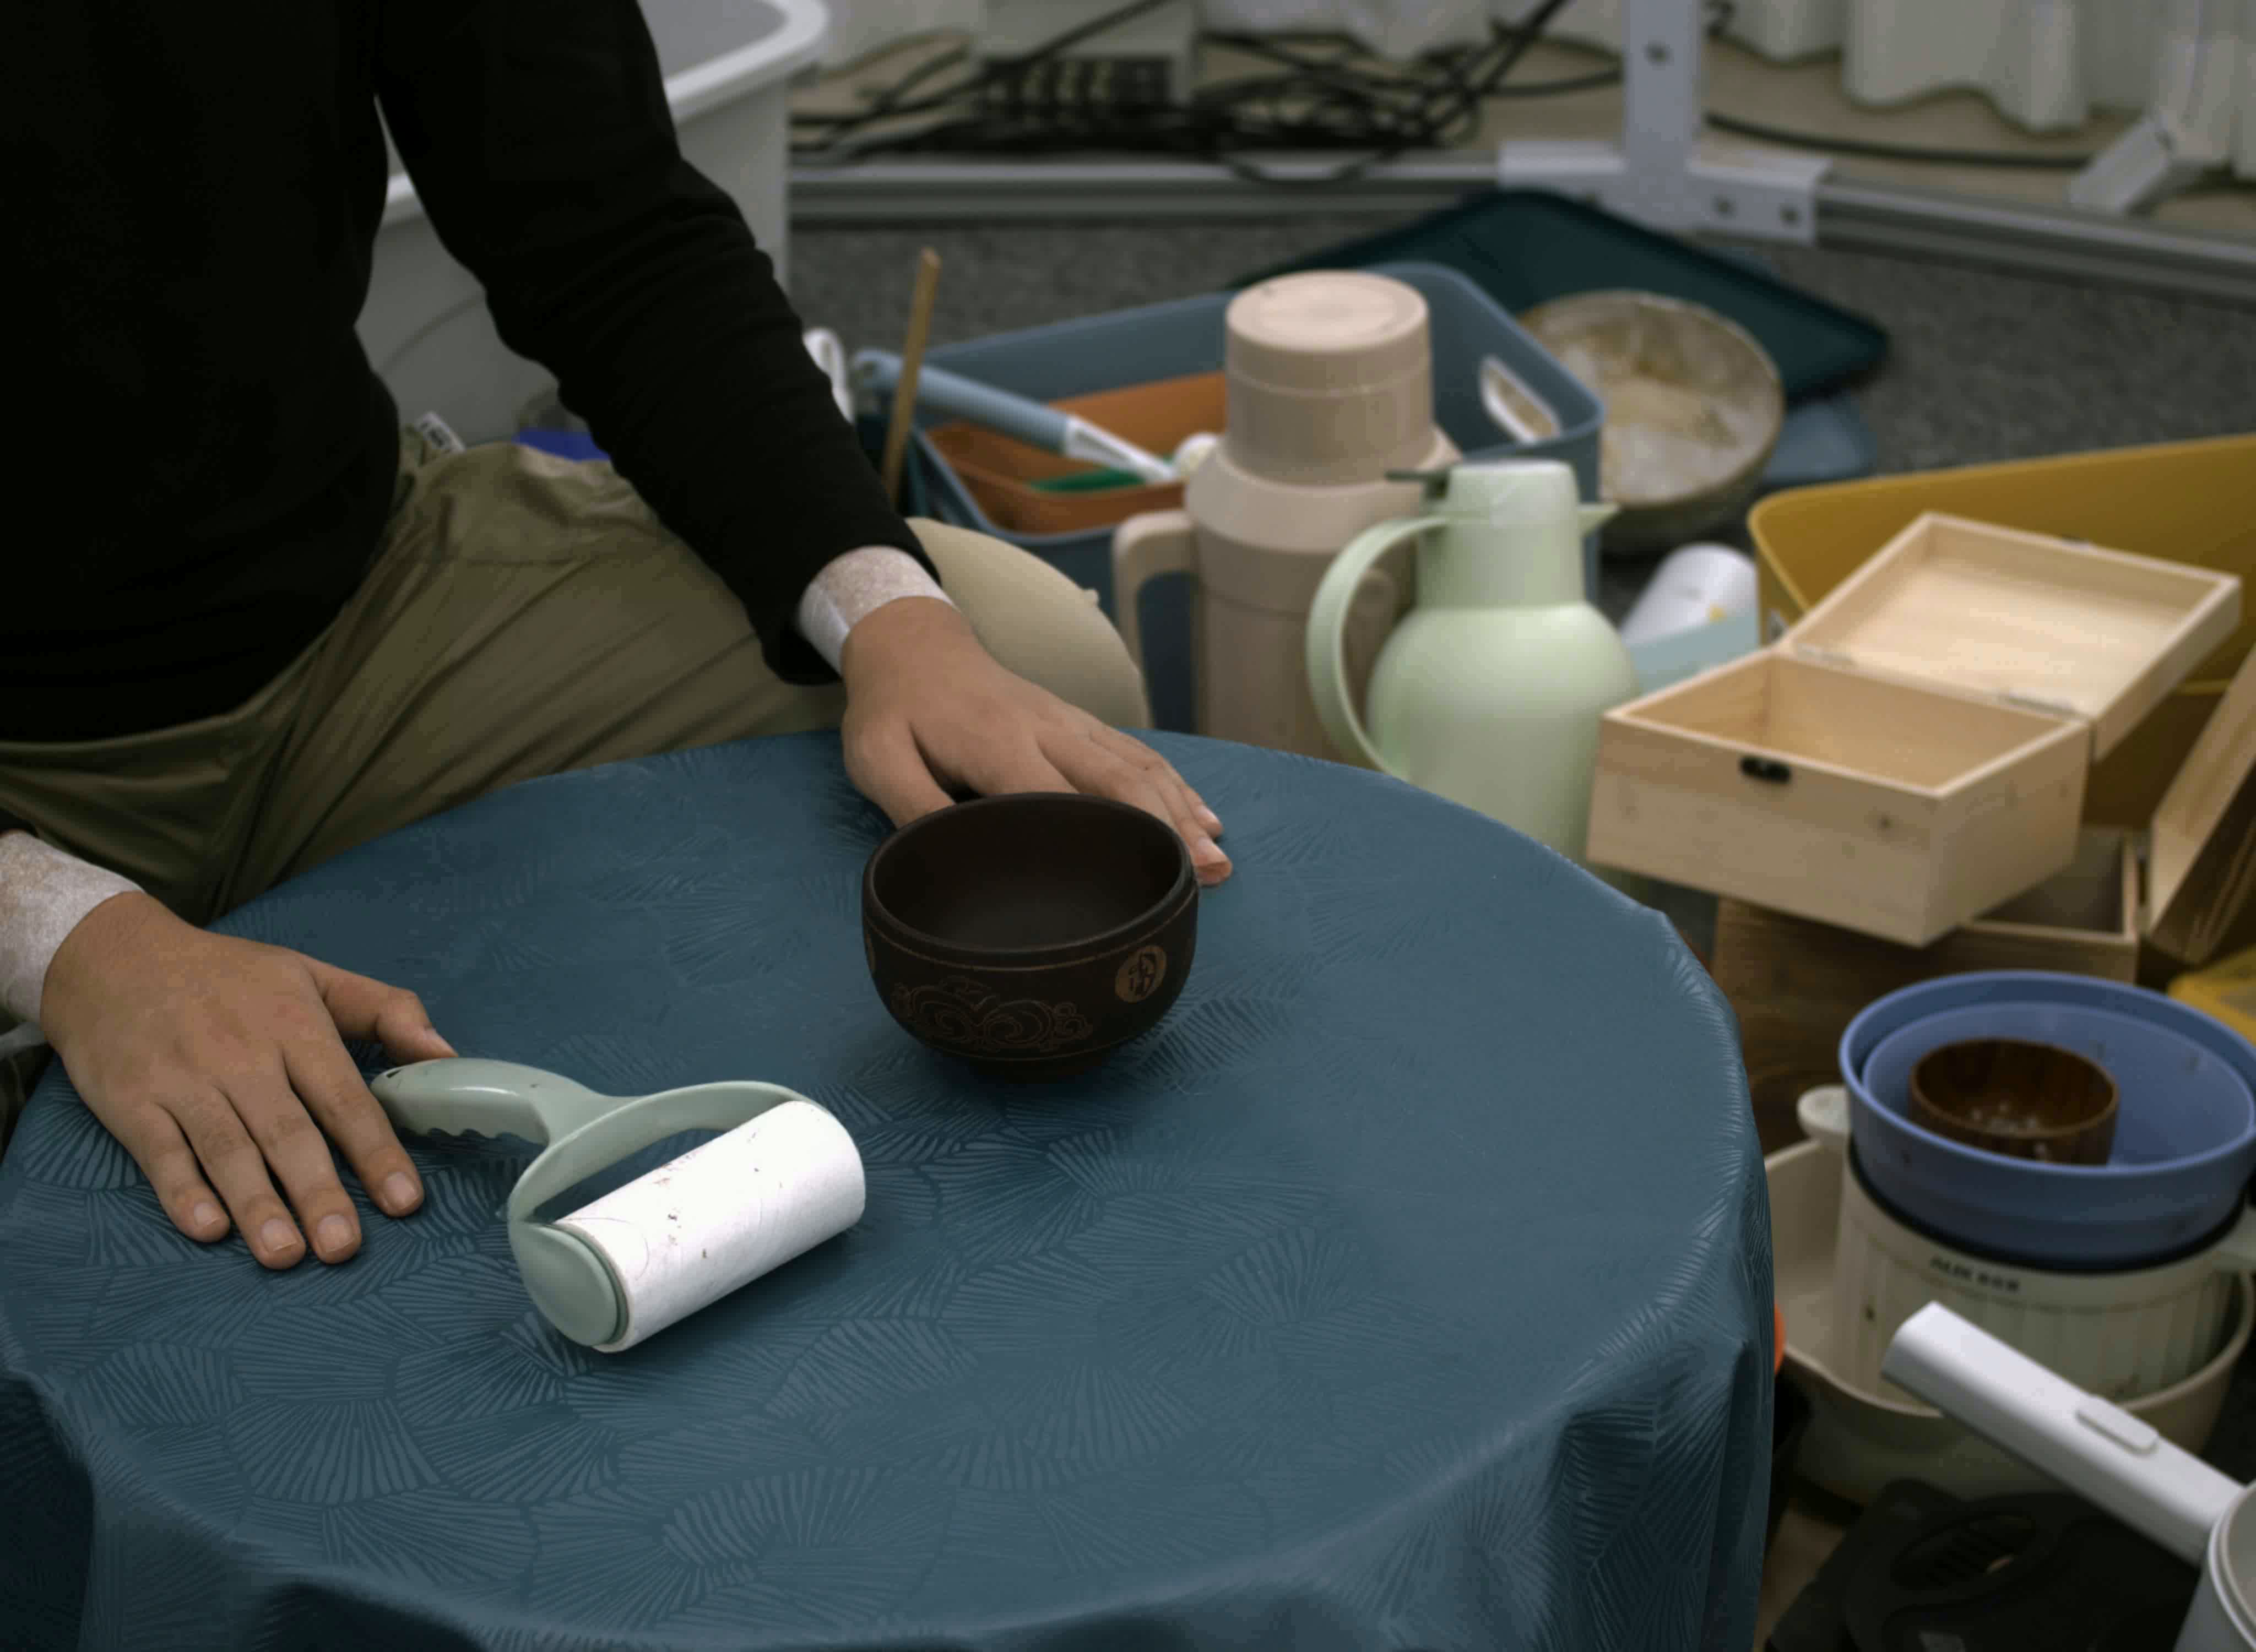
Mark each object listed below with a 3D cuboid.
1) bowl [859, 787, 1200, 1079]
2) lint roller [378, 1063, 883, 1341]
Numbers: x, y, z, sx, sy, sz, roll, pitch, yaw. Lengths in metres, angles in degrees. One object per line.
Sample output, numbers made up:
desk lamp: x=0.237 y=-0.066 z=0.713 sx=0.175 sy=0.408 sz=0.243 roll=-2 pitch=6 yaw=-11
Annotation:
bowl: x=-0.033 y=0.044 z=1.938 sx=0.117 sy=0.069 sz=0.120 roll=-4 pitch=27 yaw=2
lint roller: x=-0.182 y=0.106 z=1.862 sx=0.118 sy=0.048 sz=0.197 roll=-27 pitch=34 yaw=-37
